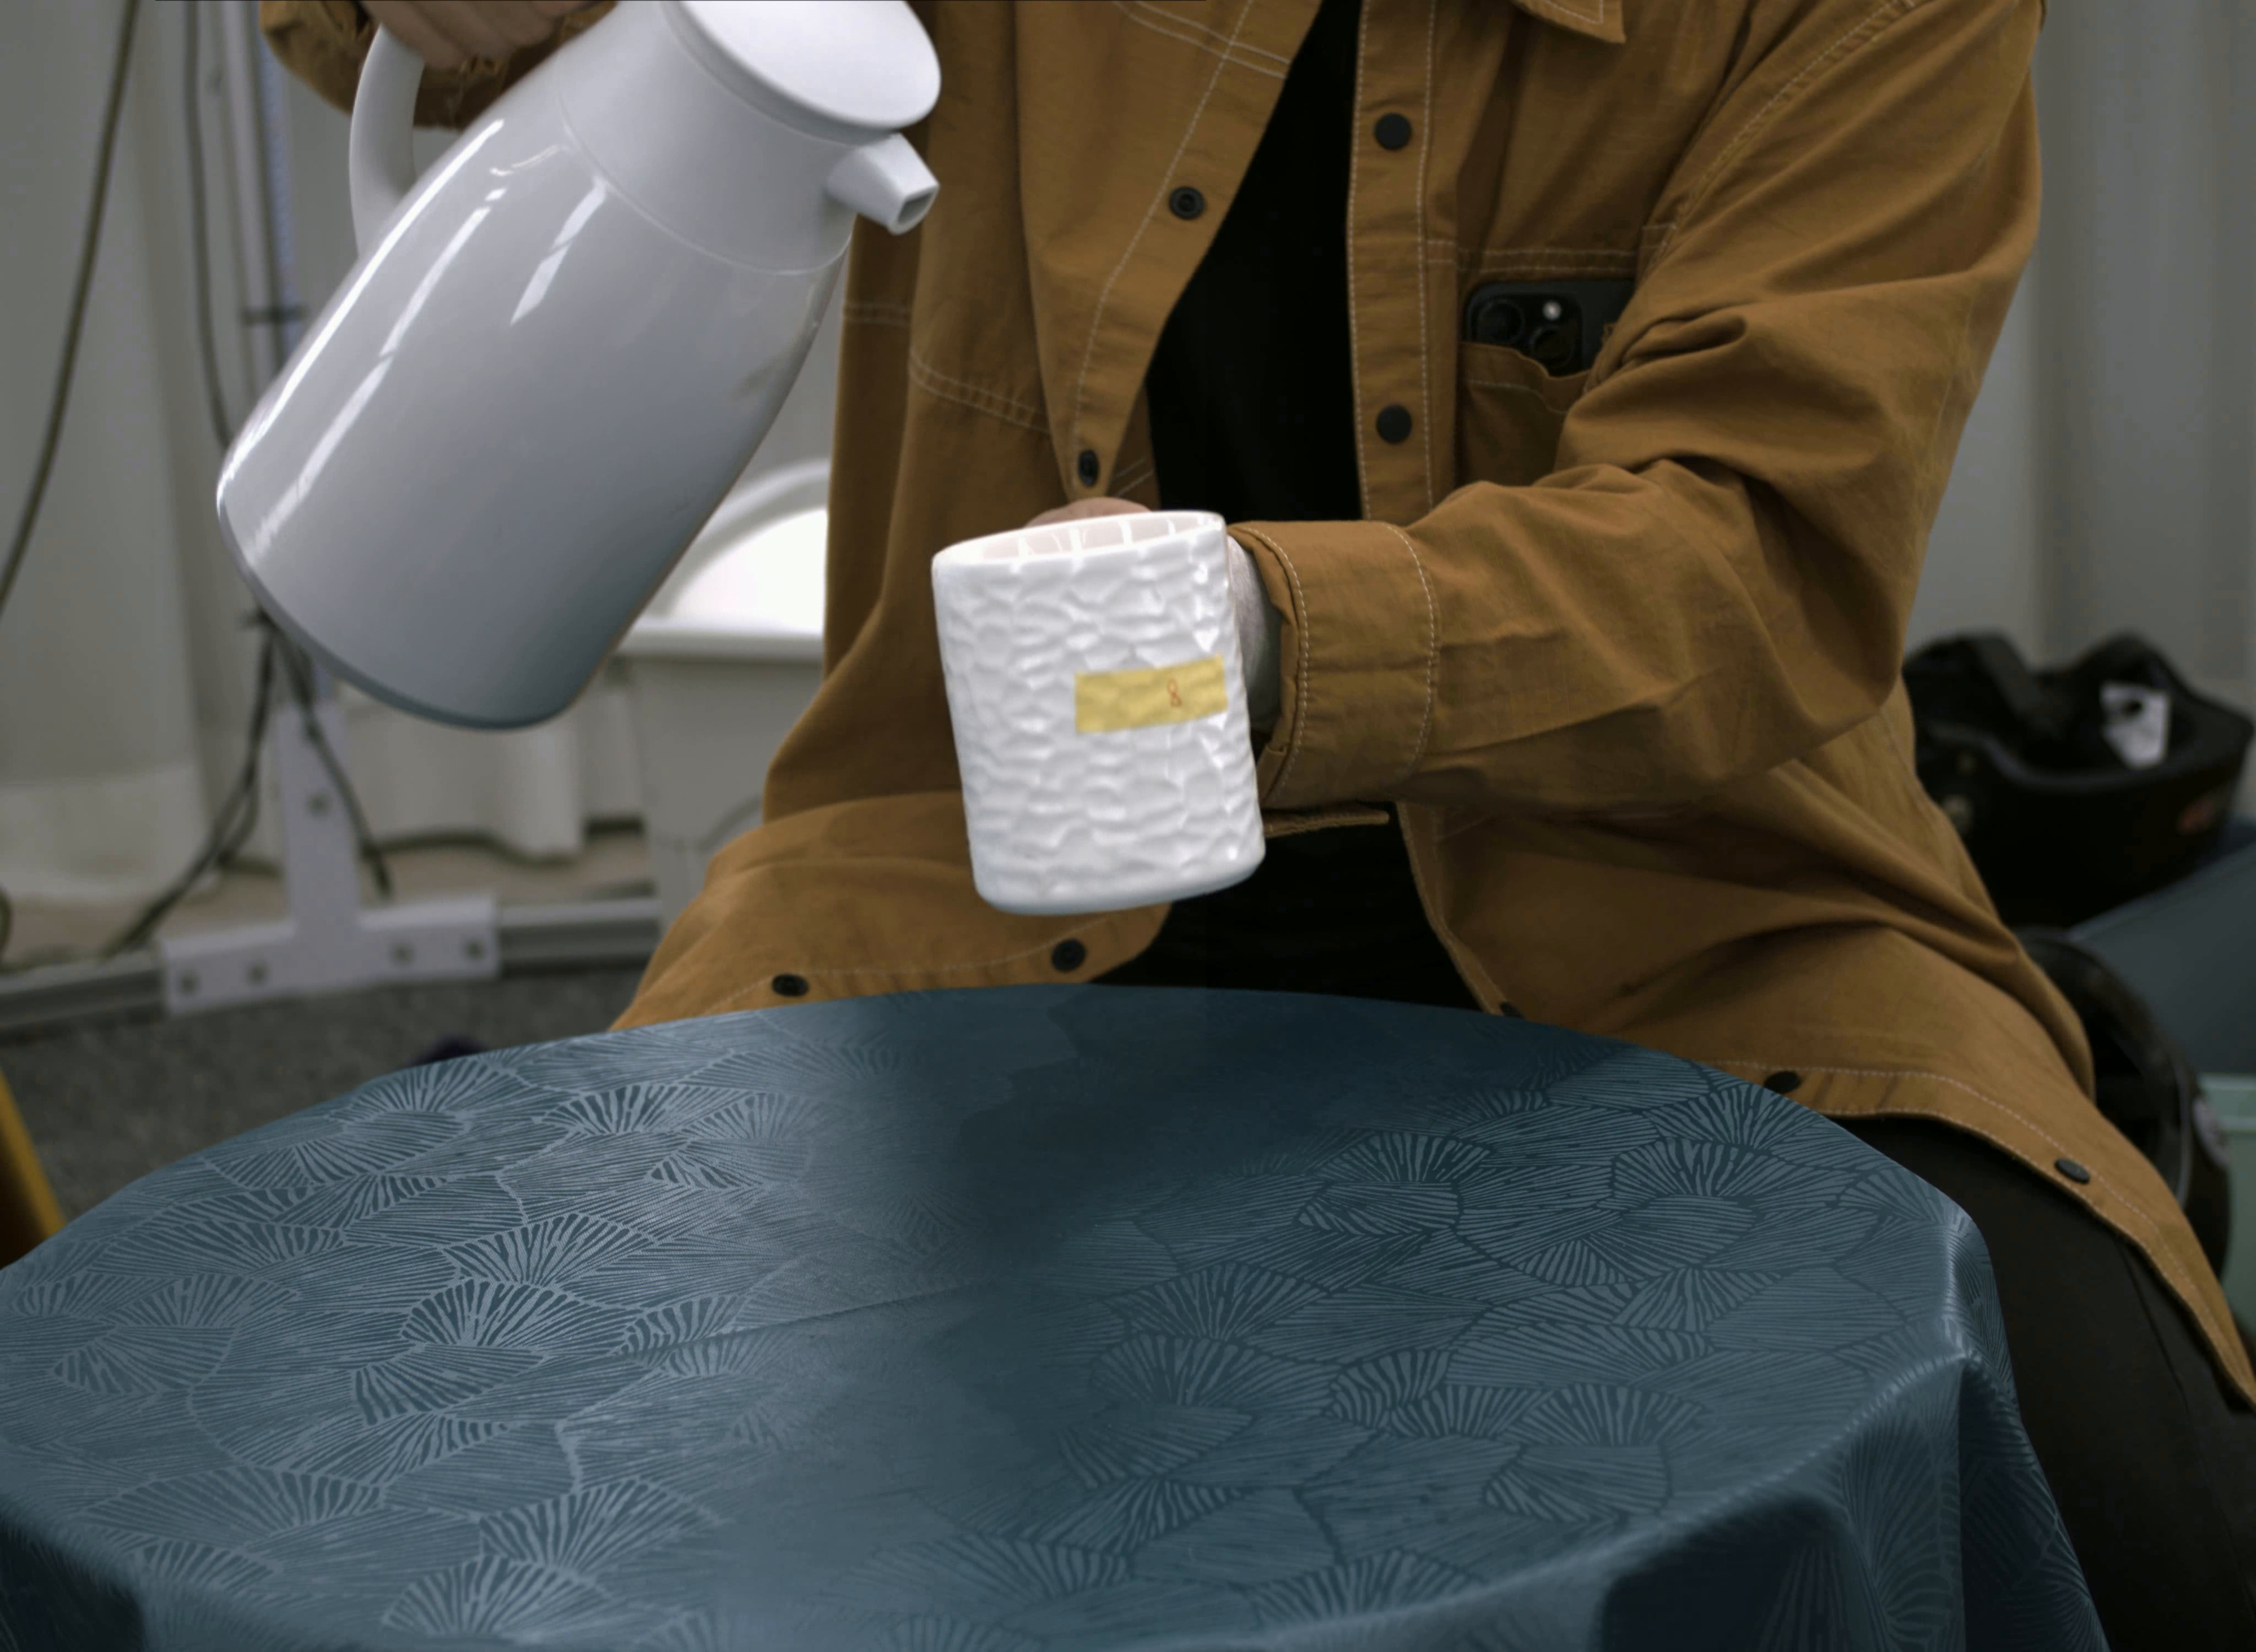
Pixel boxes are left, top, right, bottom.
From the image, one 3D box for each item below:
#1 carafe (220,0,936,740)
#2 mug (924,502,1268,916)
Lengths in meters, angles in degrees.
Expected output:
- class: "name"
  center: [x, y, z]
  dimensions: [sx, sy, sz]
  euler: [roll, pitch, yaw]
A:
- class: "carafe"
  center: [-0.169, -0.168, 1.622]
  dimensions: [0.168, 0.247, 0.133]
  euler: [45, 33, 10]
- class: "mug"
  center: [-0.009, -0.036, 1.565]
  dimensions: [0.084, 0.102, 0.119]
  euler: [-10, 10, -3]
